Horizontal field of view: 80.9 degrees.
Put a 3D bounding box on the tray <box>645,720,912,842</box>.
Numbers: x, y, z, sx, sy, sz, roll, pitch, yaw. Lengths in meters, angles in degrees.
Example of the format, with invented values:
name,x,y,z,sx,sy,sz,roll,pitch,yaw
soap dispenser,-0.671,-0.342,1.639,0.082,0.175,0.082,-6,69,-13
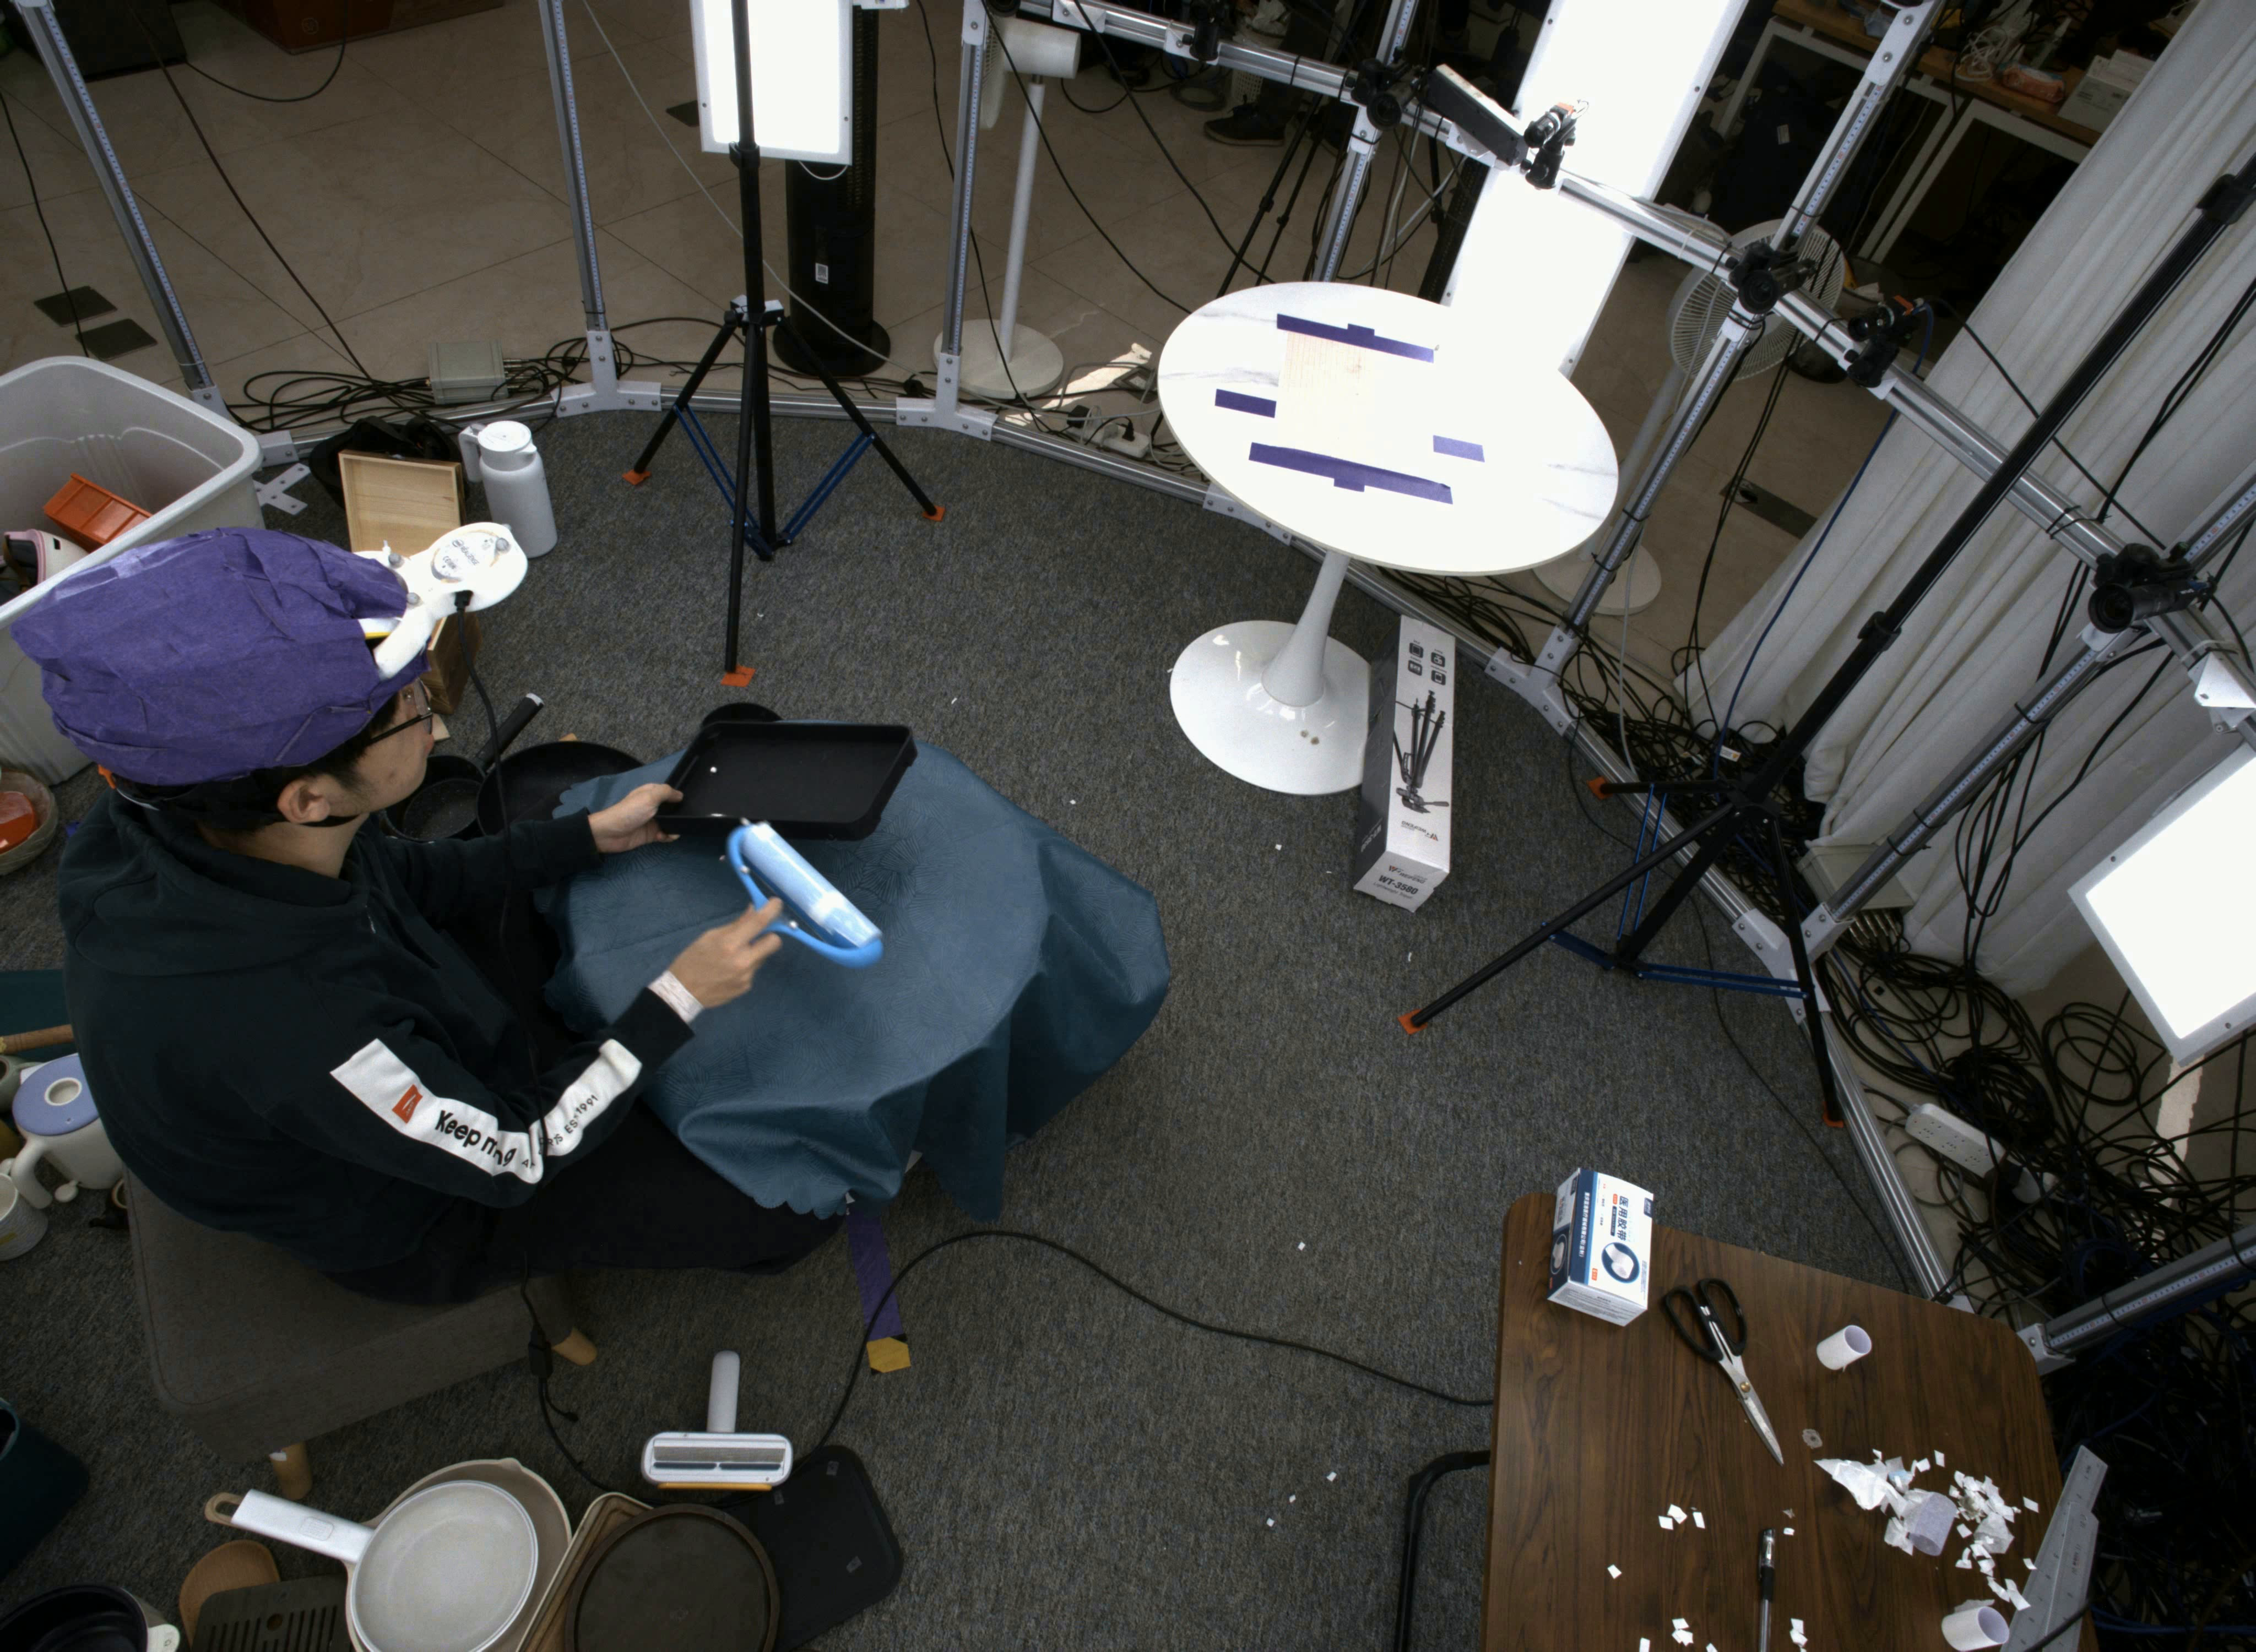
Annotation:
name,x,y,z,sx,sy,sz,roll,pitch,yaw
tray,-0.444,-0.061,1.644,0.310,0.038,0.182,2,47,15

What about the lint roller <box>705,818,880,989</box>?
name,x,y,z,sx,sy,sz,roll,pitch,yaw
lint roller,-0.414,0.111,1.485,0.228,0.068,0.180,40,63,2
